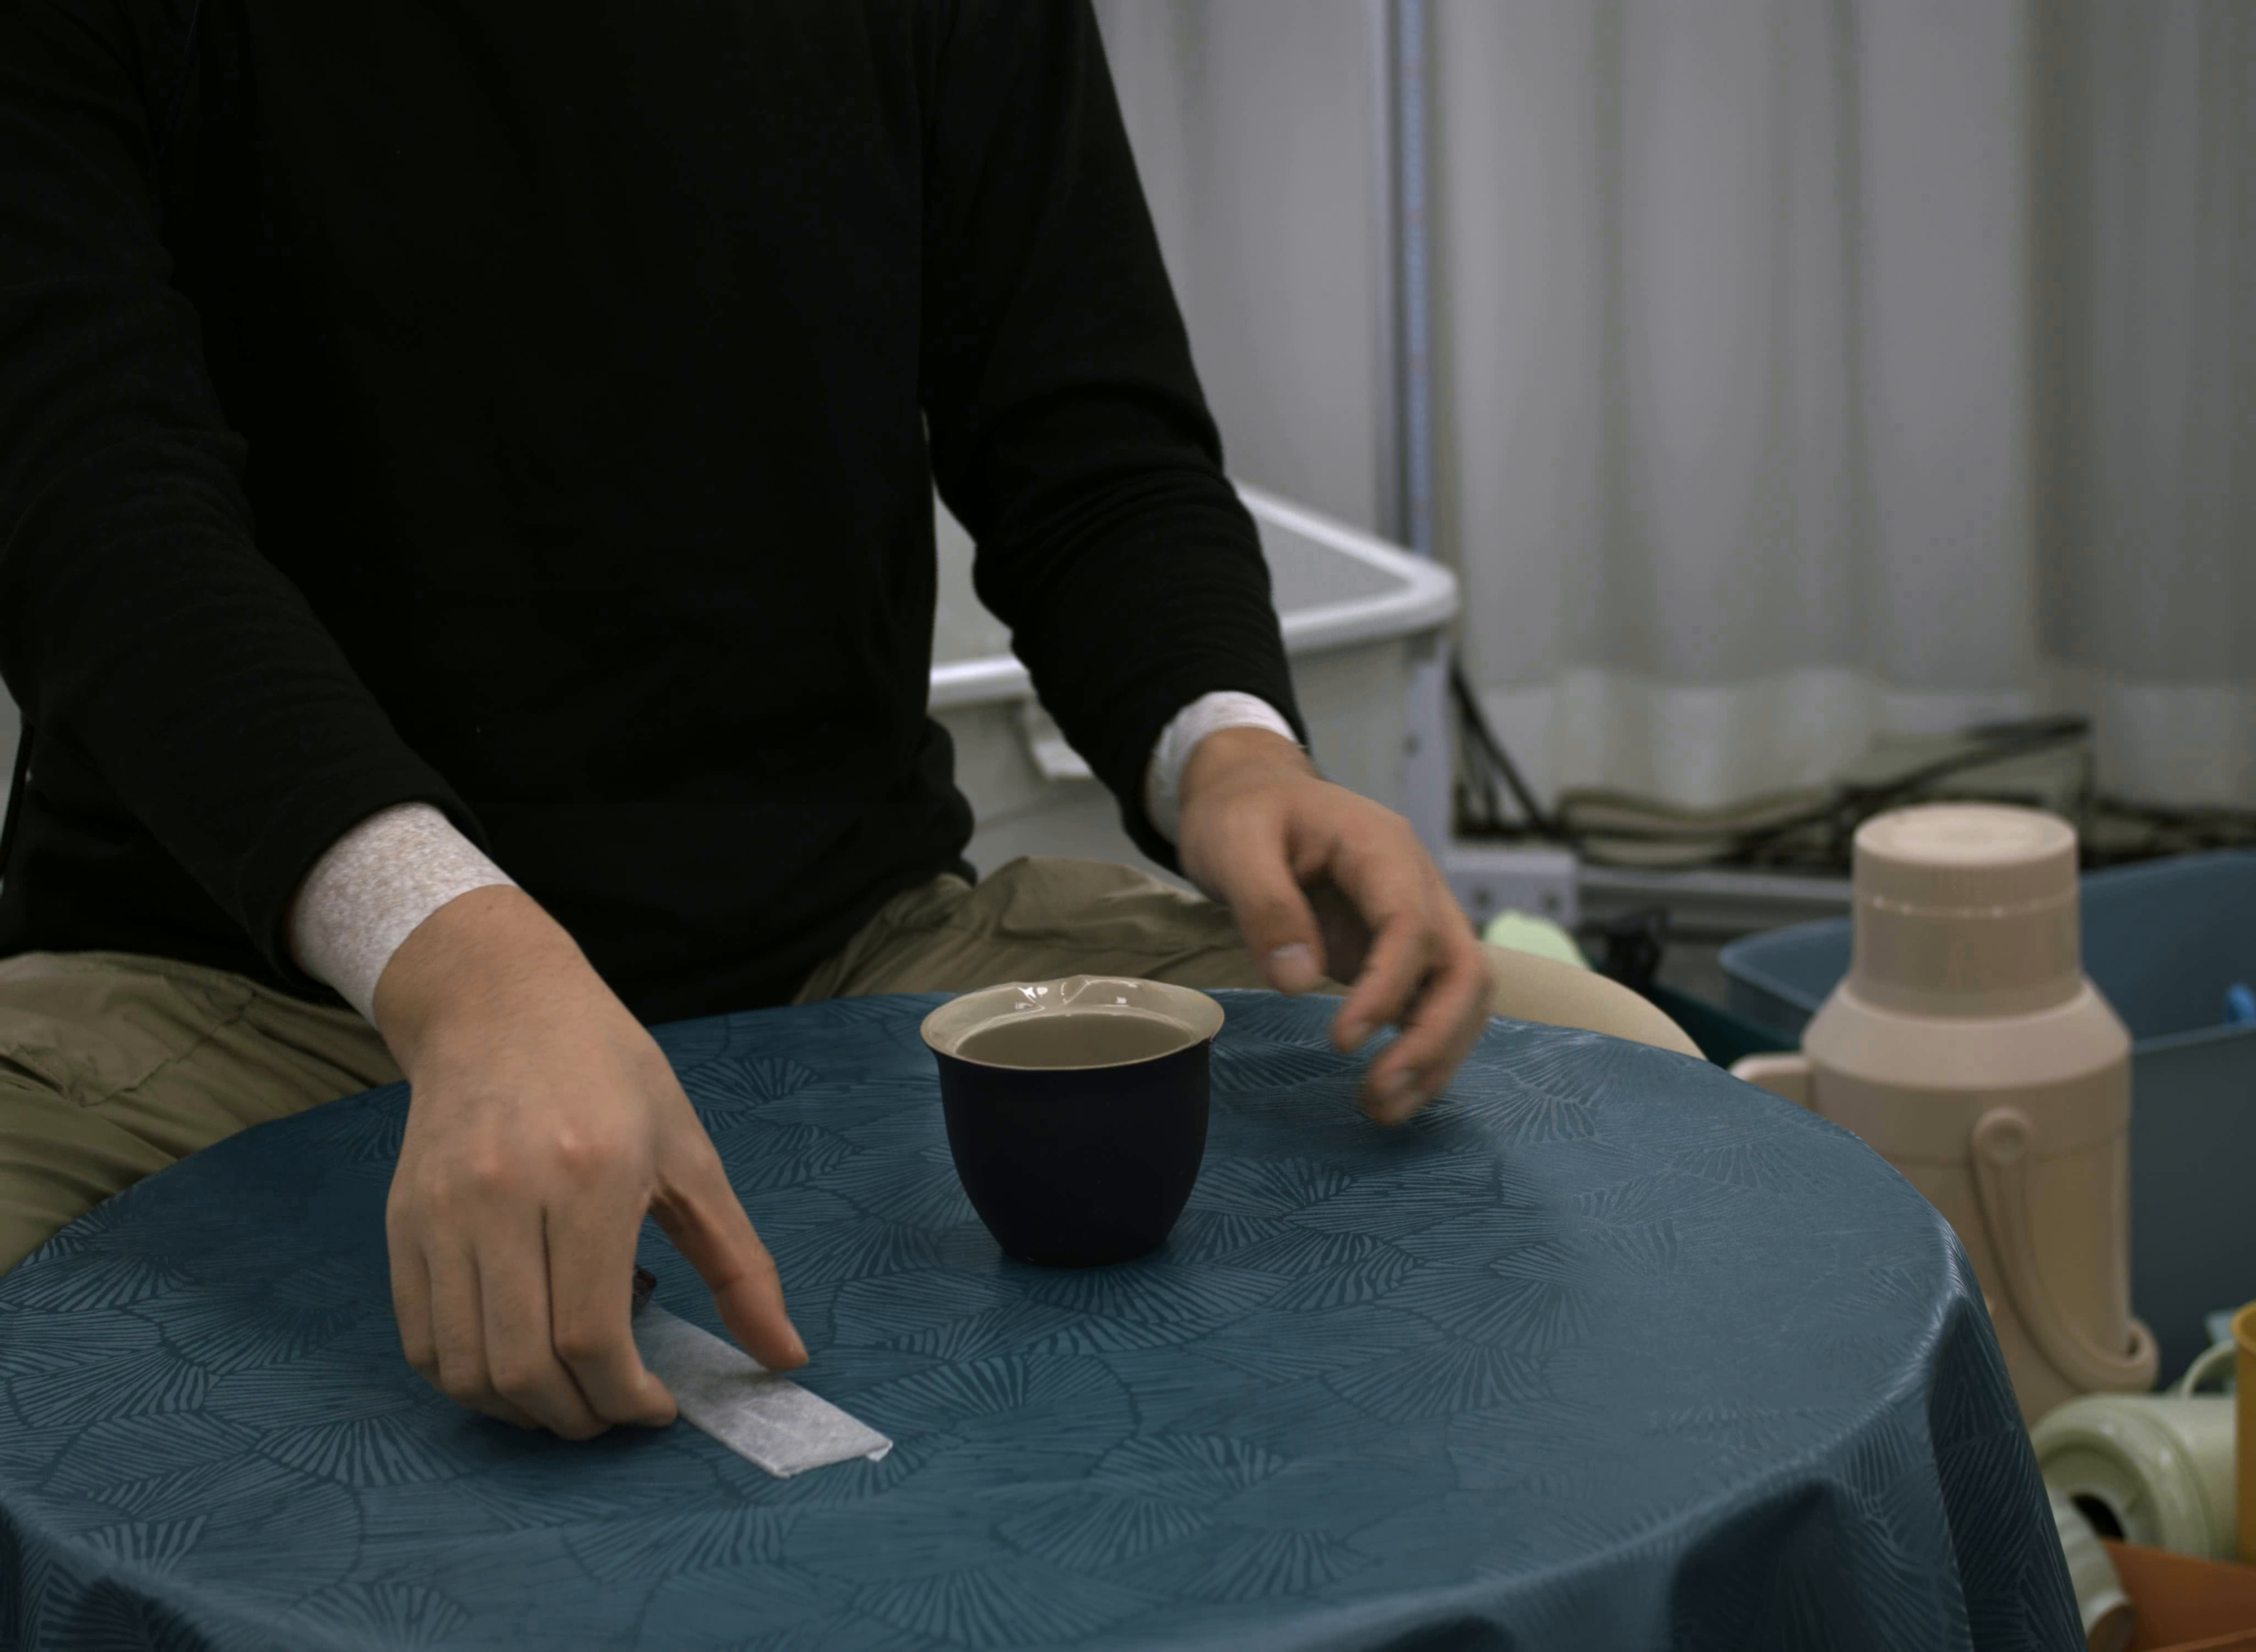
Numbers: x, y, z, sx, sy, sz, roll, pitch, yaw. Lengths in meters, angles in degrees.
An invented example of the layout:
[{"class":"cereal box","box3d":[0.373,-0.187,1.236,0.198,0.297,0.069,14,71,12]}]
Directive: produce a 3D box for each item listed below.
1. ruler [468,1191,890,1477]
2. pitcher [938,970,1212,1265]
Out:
[{"class":"ruler","box3d":[-0.137,0.144,1.586,0.038,0.024,0.220,-22,21,-25]},{"class":"pitcher","box3d":[-0.016,0.091,1.666,0.083,0.071,0.097,-6,15,-8]}]
